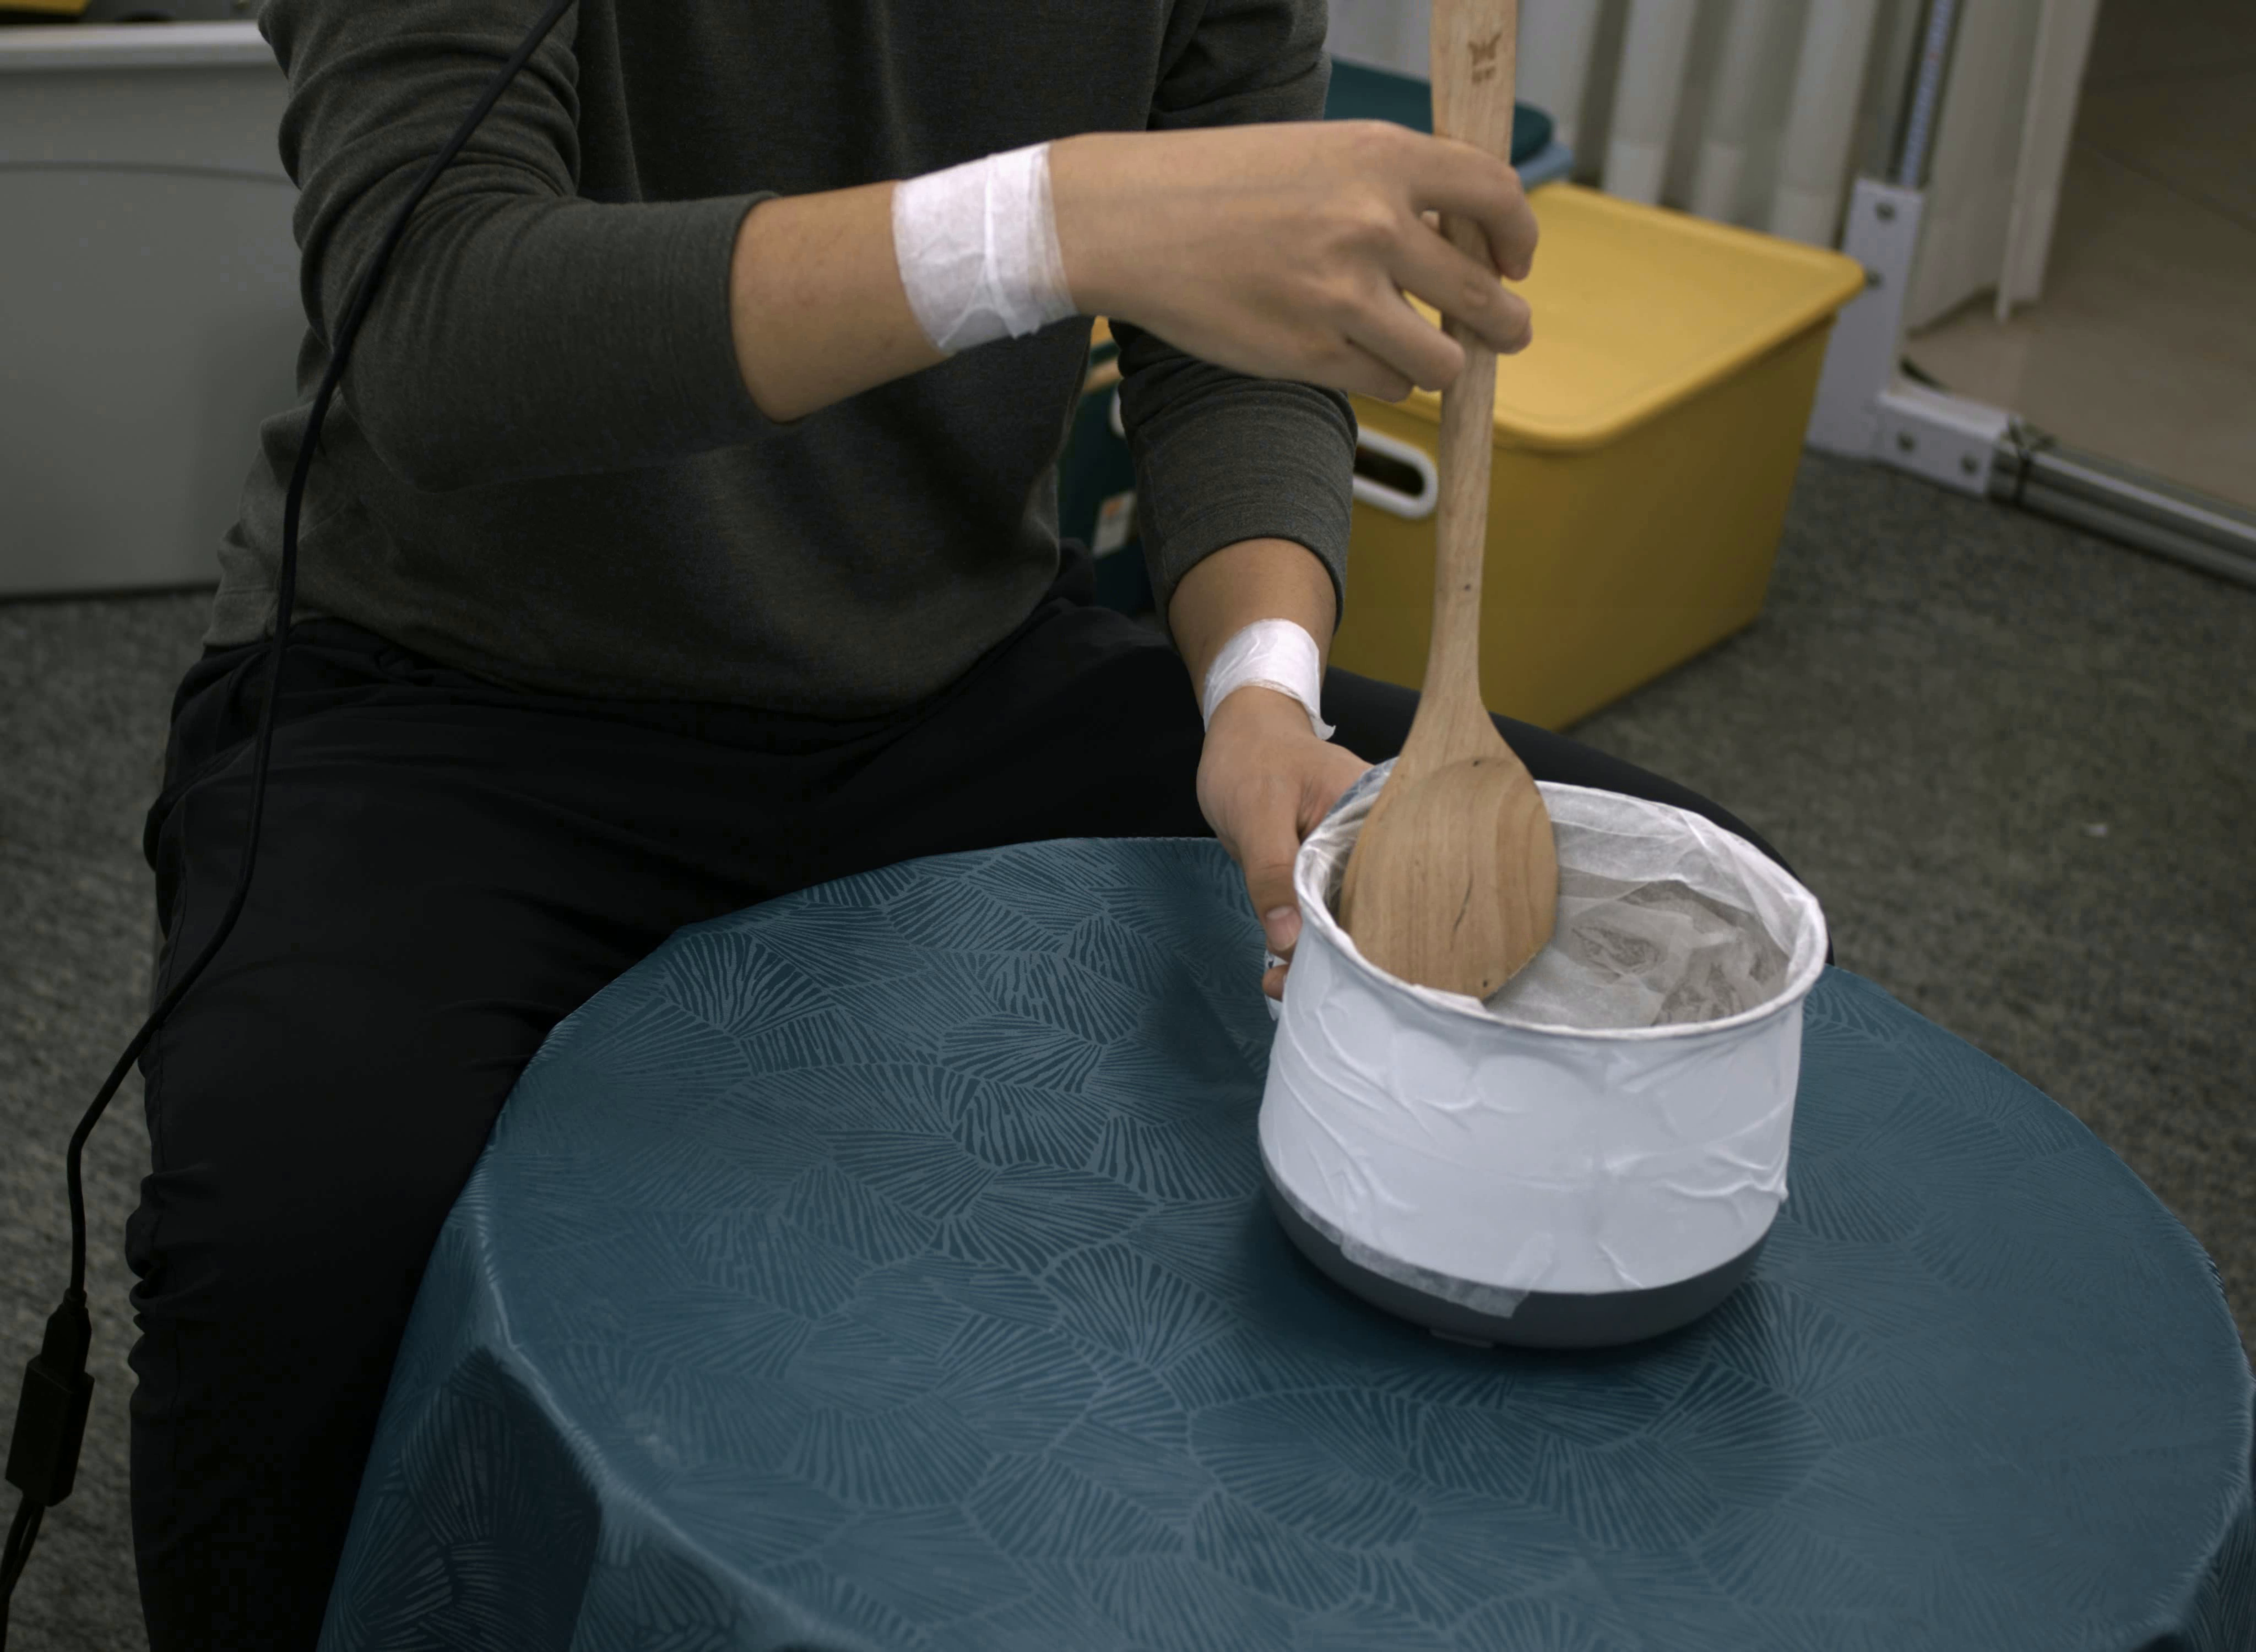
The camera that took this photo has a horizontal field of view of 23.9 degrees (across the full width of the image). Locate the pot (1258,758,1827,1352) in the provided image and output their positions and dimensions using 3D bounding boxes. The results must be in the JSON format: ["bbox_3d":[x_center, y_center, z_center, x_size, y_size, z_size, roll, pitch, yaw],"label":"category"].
[{"bbox_3d":[0.121,0.069,1.792,0.177,0.136,0.236,-10,30,-29],"label":"pot"}]

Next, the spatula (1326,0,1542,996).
[{"bbox_3d":[0.101,-0.108,1.721,0.095,0.389,0.018,-22,36,-34],"label":"spatula"}]
